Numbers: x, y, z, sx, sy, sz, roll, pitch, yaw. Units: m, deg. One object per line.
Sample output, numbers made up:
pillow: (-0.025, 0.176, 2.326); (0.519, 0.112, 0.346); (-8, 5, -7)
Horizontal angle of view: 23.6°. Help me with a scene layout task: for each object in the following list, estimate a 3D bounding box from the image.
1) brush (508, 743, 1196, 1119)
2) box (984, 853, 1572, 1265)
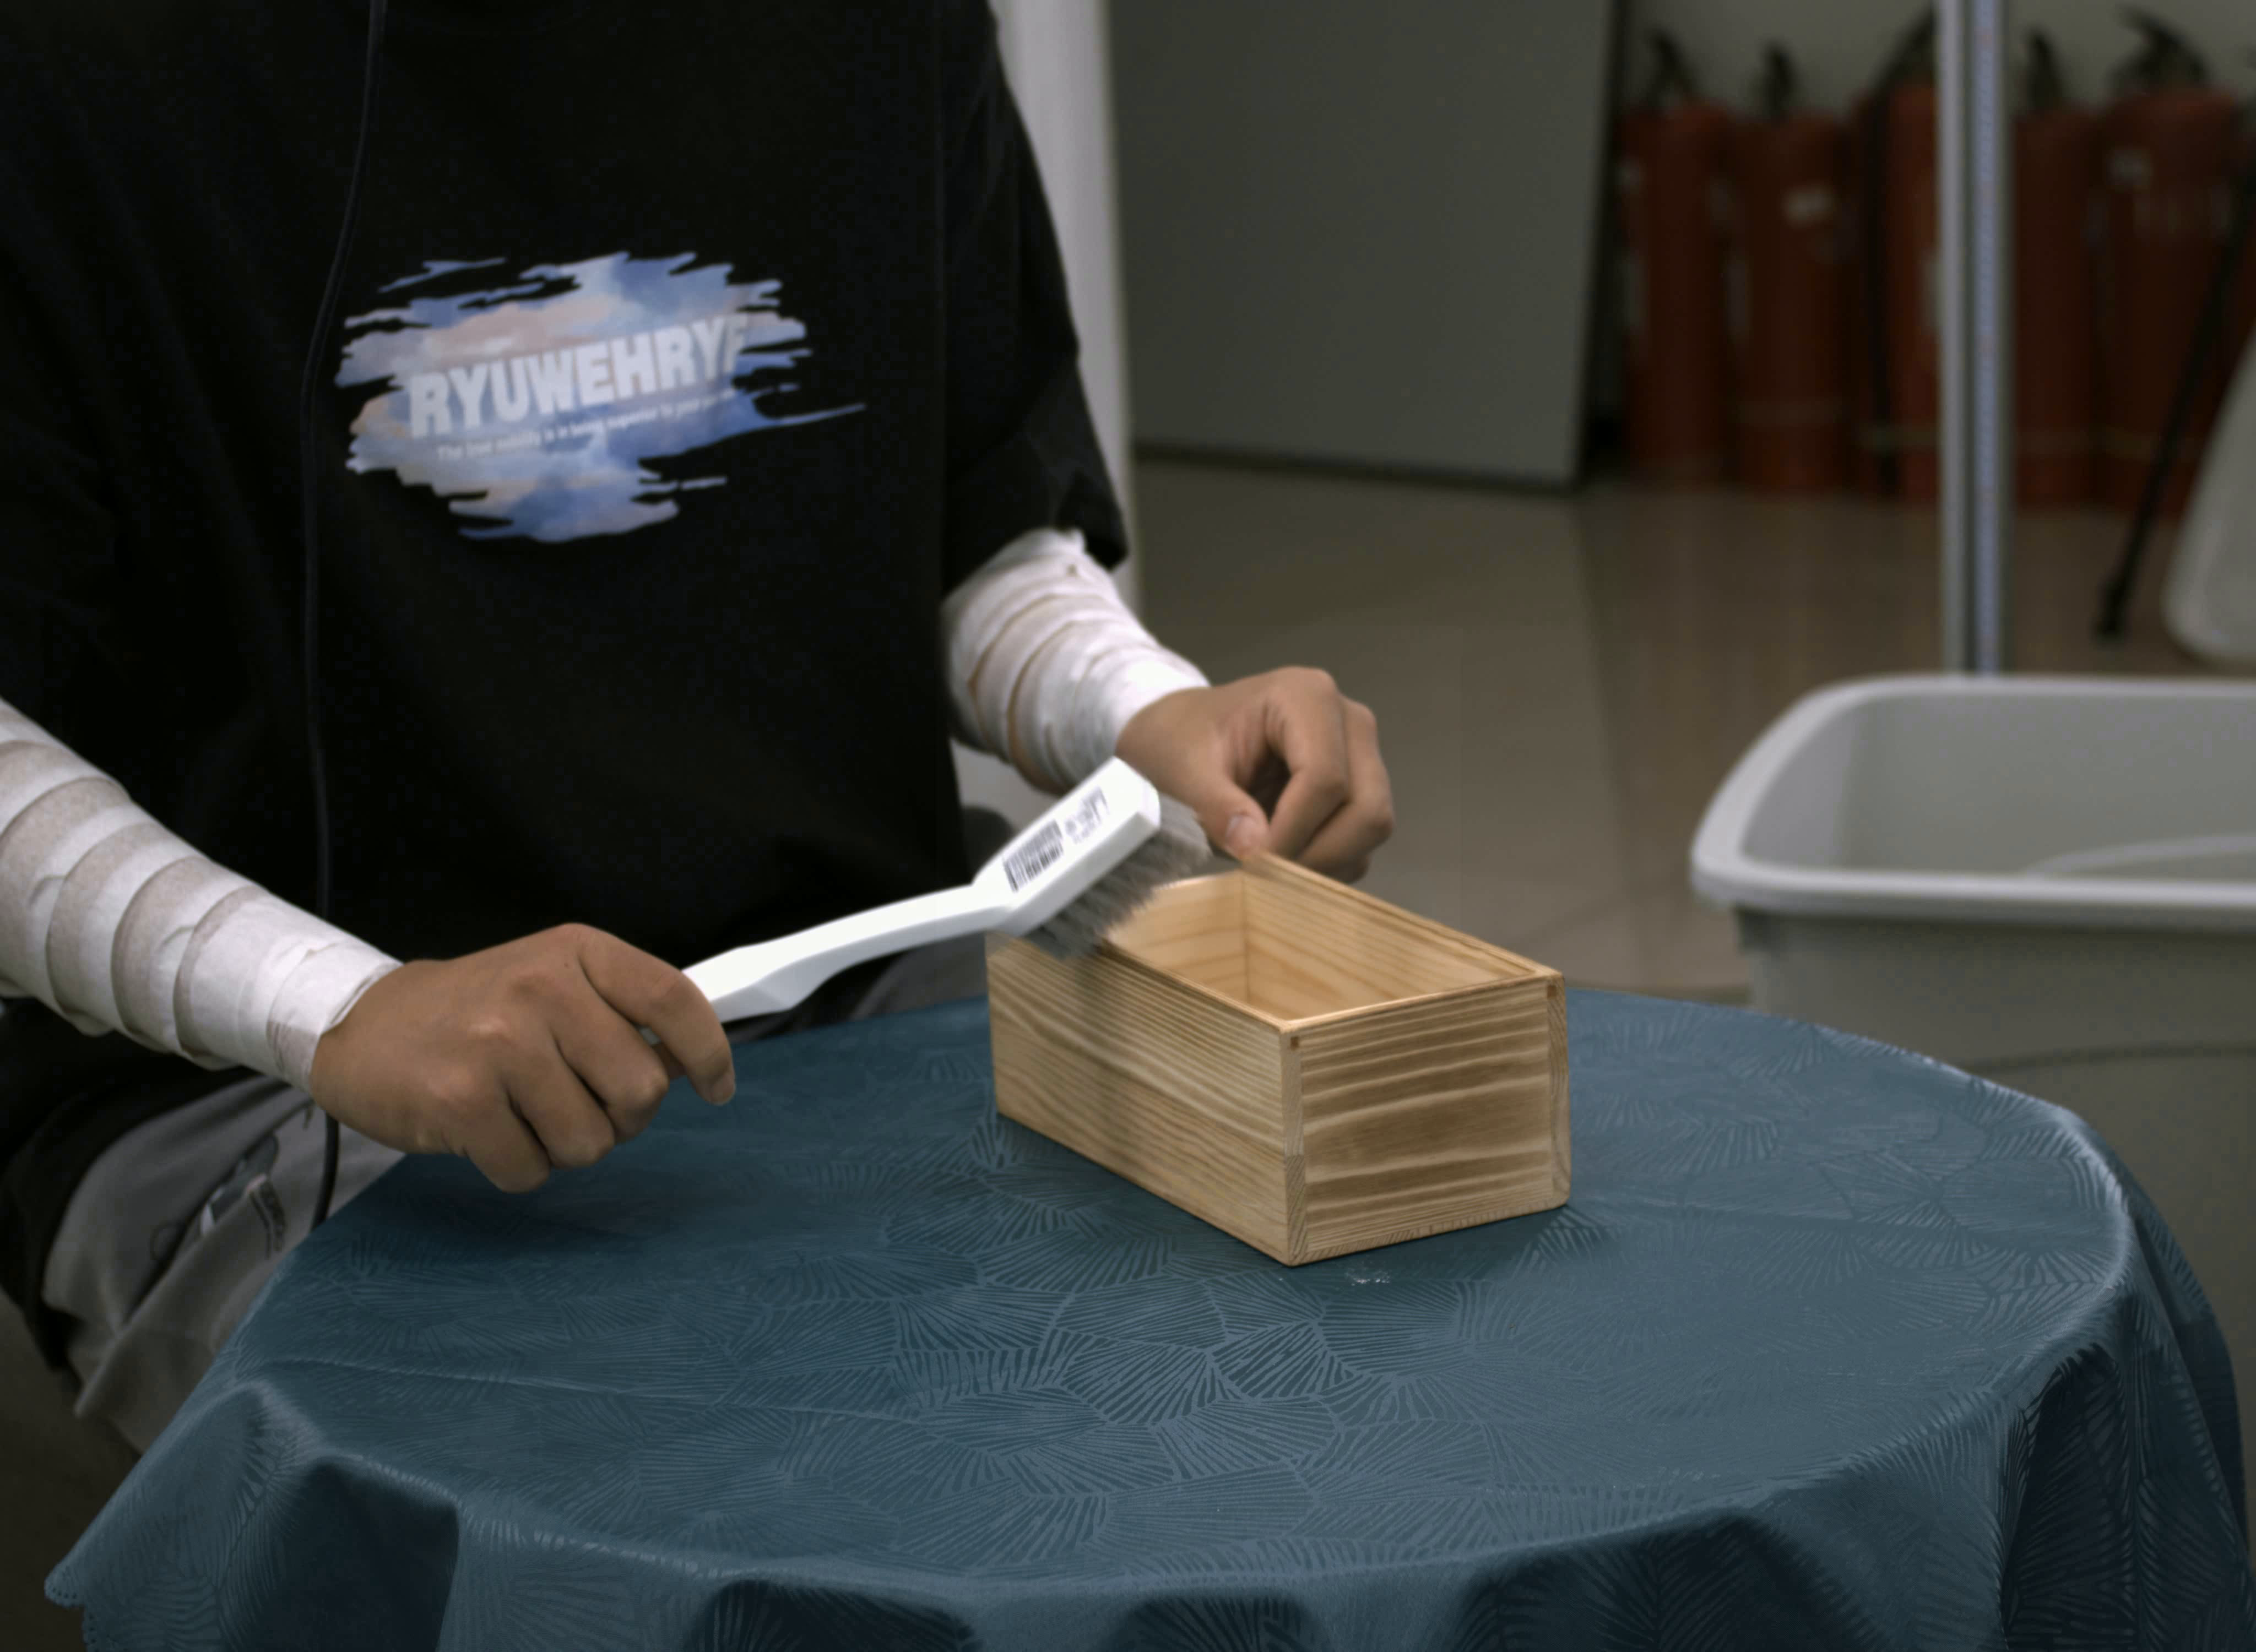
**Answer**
brush: (-0.089, 0.047, 1.777); (0.241, 0.050, 0.035); (-29, 36, -2)
box: (0.047, 0.074, 1.786); (0.105, 0.081, 0.213); (-11, 14, -26)
